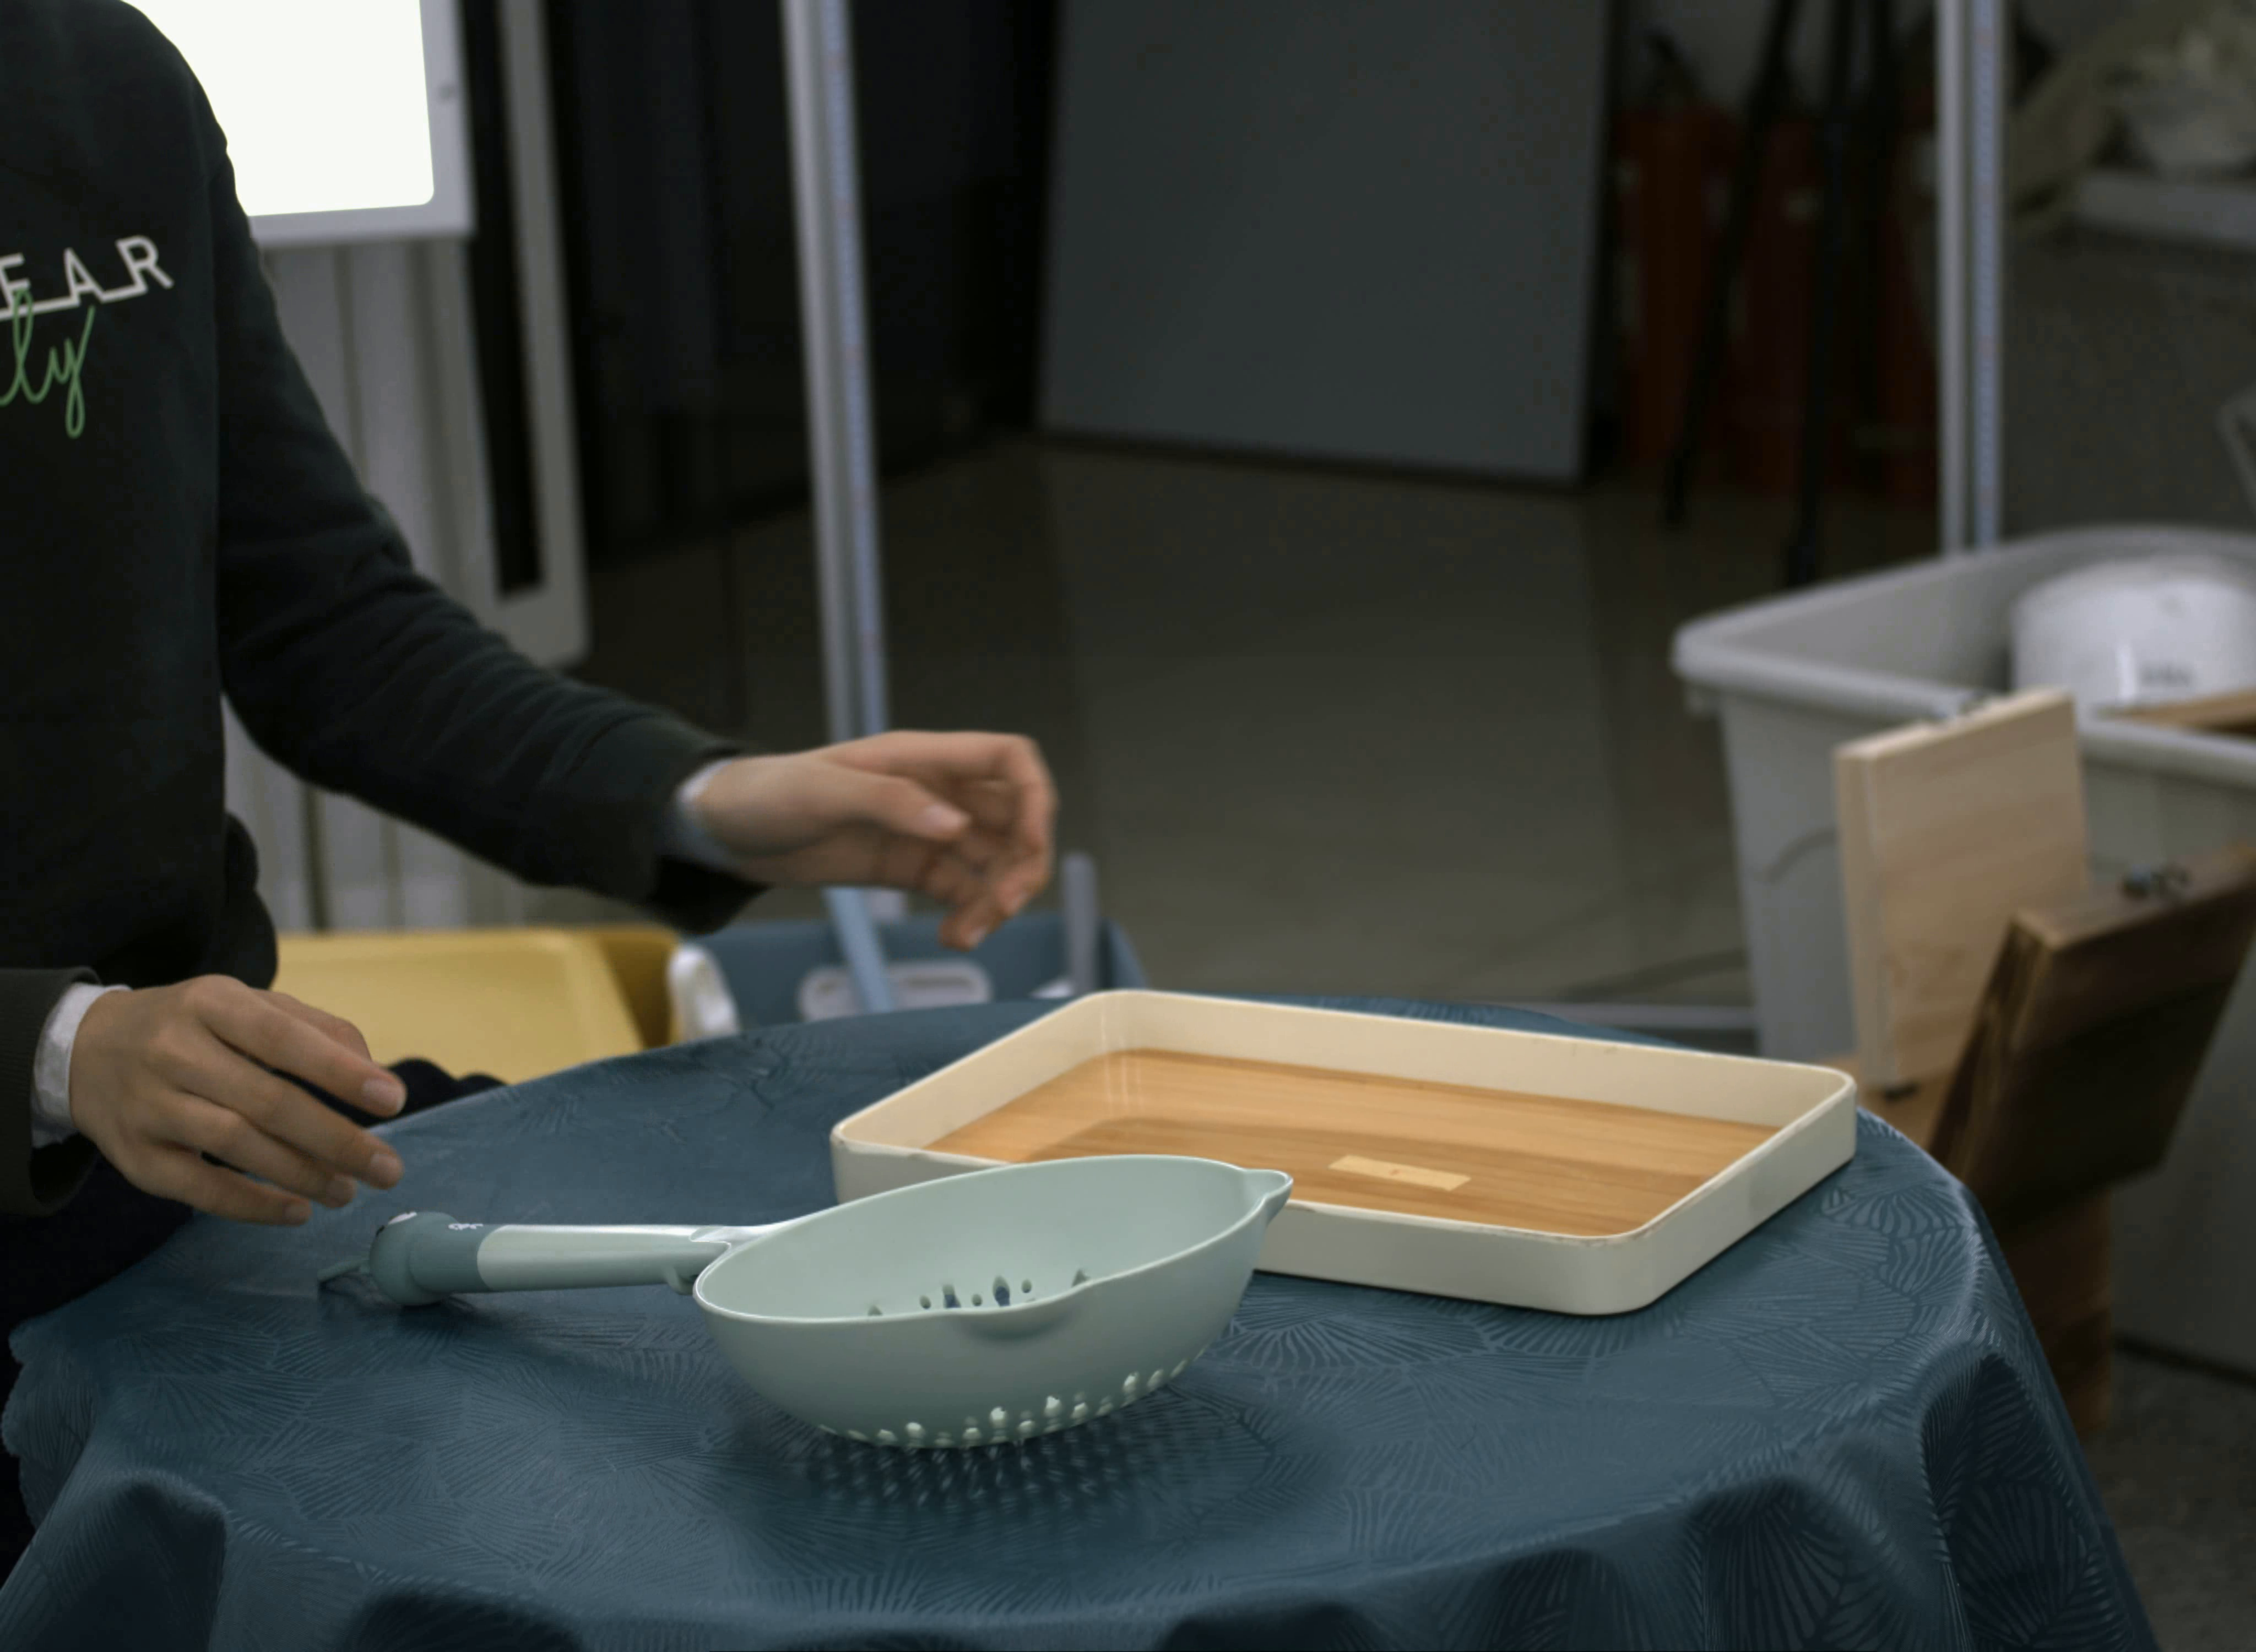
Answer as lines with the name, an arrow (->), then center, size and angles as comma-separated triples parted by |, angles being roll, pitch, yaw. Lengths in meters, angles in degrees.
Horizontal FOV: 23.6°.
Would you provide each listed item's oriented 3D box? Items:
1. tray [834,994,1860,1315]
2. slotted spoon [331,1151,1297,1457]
tray -> 0.072, 0.104, 1.764 | 0.302, 0.028, 0.188 | 5, 17, 32
slotted spoon -> -0.114, 0.134, 1.618 | 0.361, 0.076, 0.166 | 7, 17, 38
